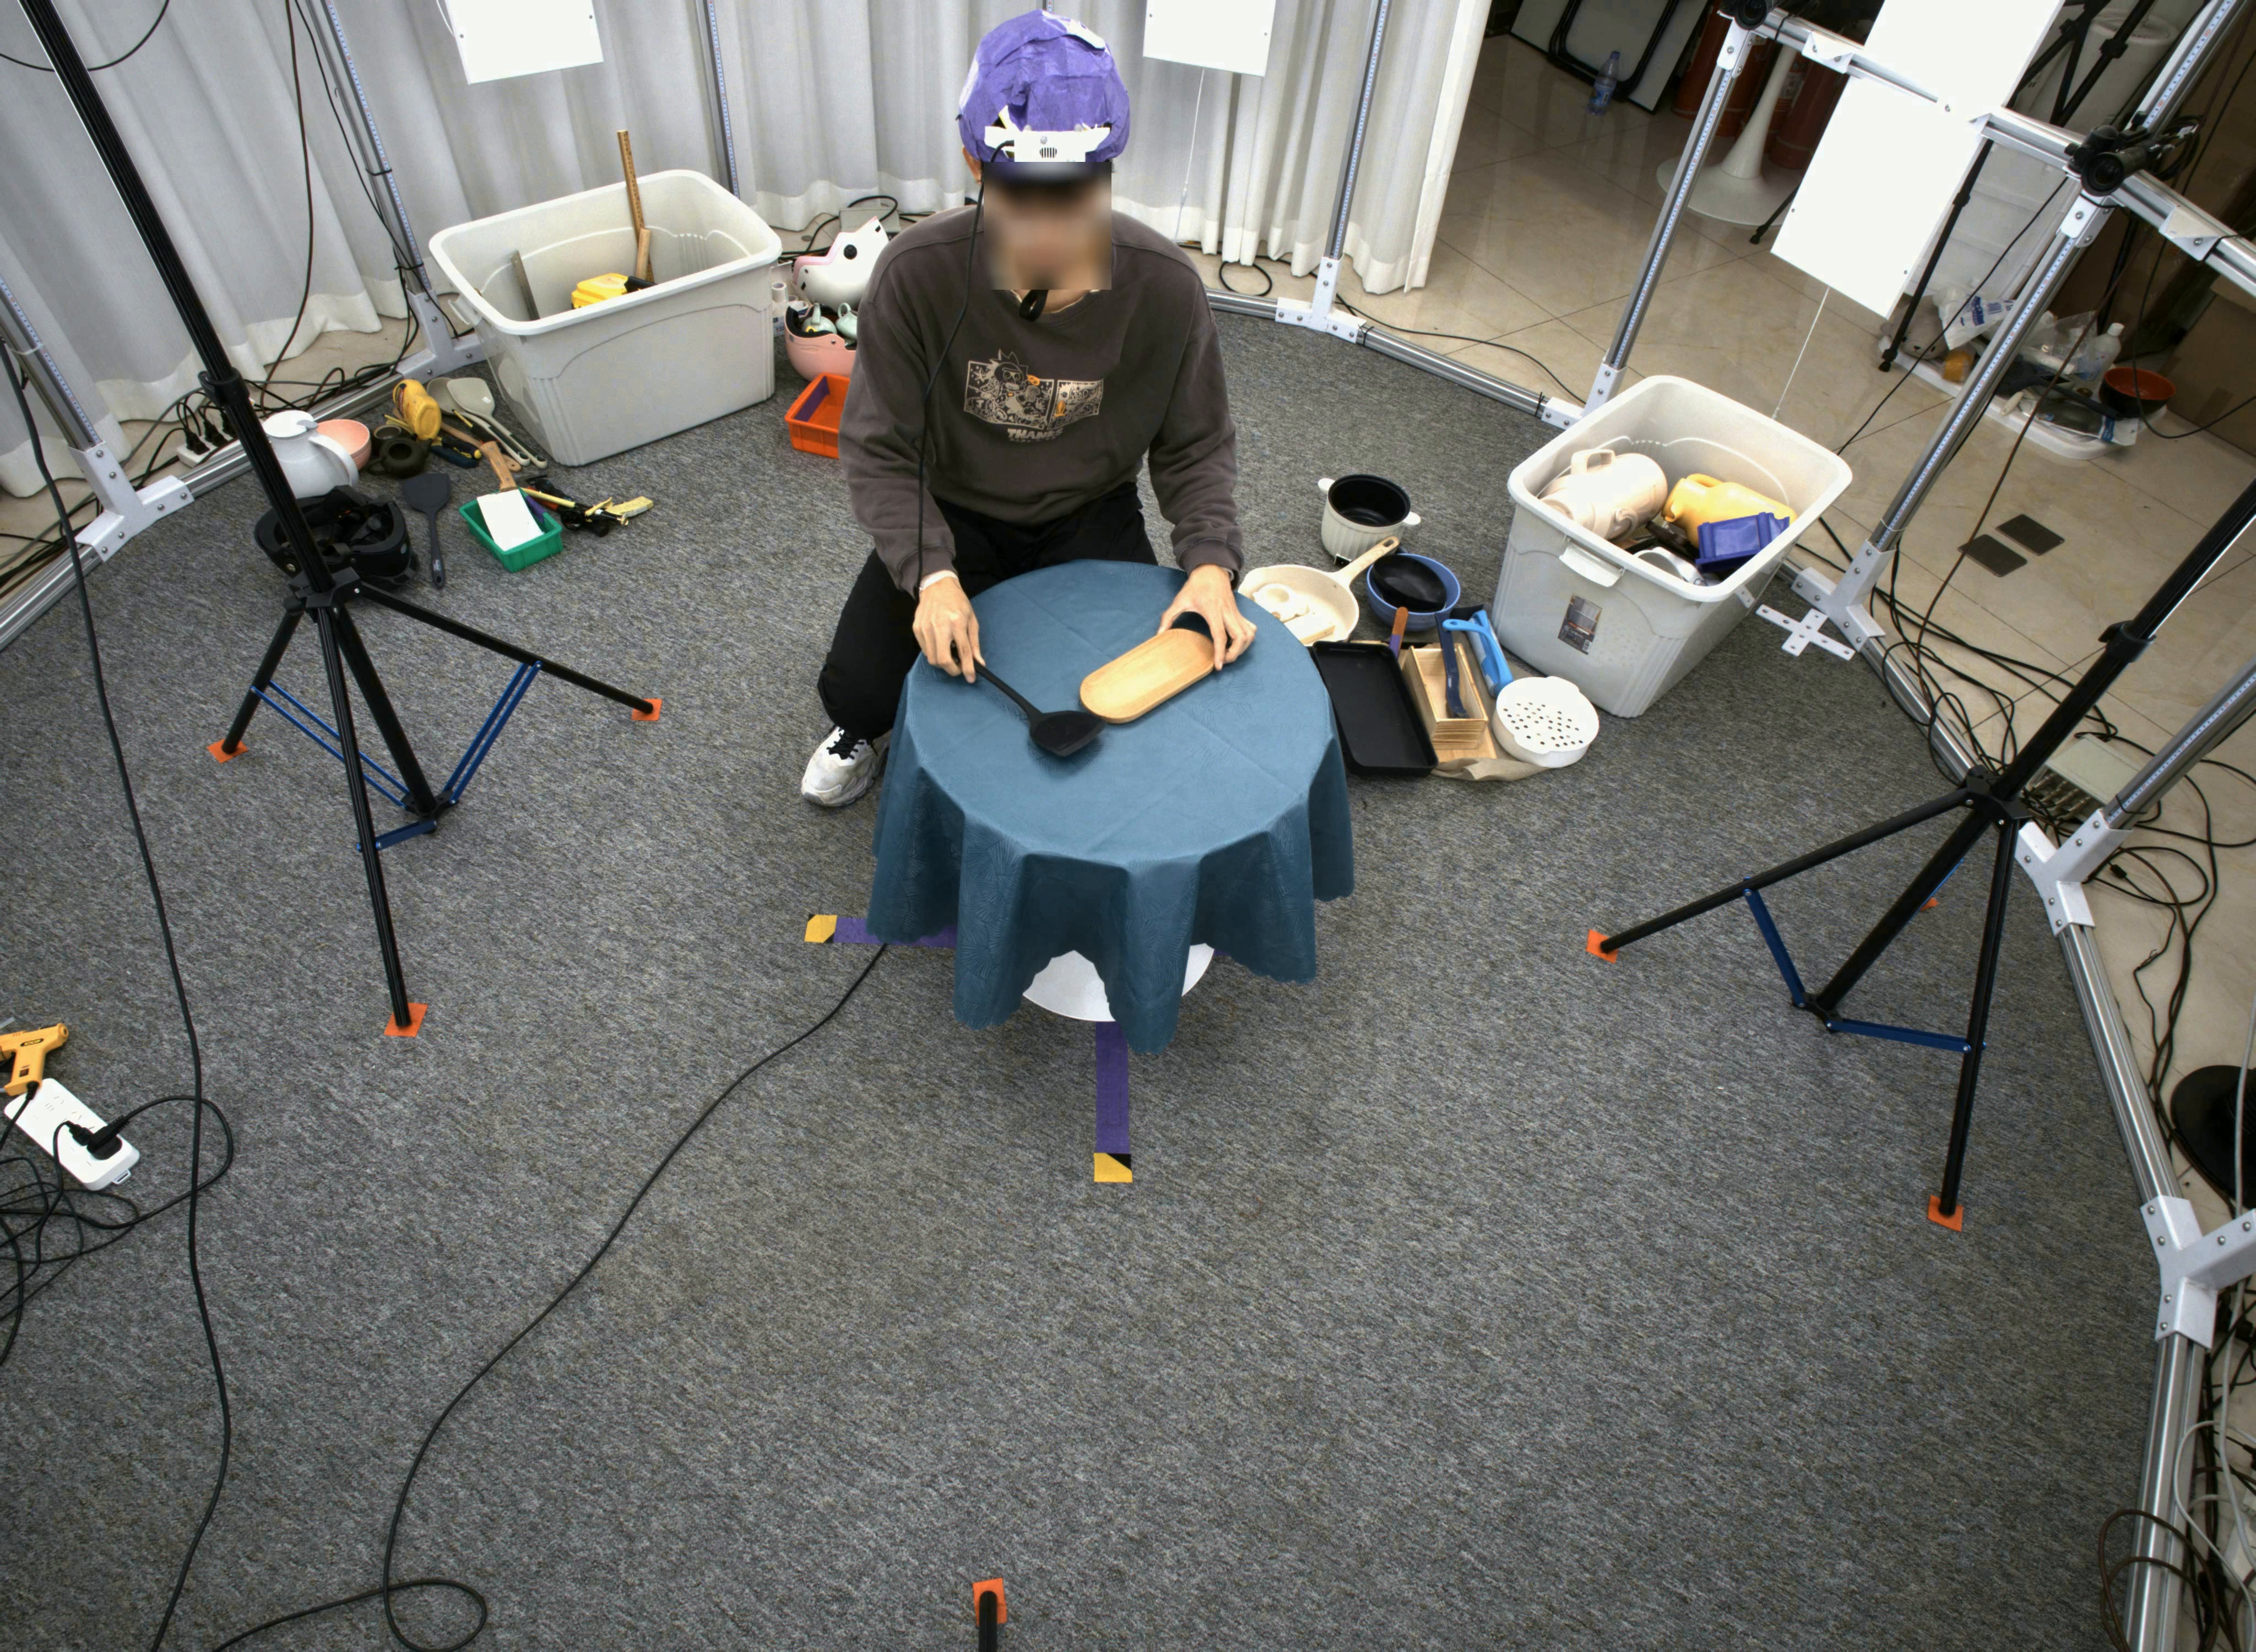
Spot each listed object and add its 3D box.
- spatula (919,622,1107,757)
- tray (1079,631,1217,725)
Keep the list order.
[{"bbox_3d":[-0.177,-0.202,1.794,0.330,0.039,0.101,40,53,19],"label":"spatula"},{"bbox_3d":[0.030,-0.214,1.844,0.233,0.020,0.103,-34,58,-27],"label":"tray"}]
